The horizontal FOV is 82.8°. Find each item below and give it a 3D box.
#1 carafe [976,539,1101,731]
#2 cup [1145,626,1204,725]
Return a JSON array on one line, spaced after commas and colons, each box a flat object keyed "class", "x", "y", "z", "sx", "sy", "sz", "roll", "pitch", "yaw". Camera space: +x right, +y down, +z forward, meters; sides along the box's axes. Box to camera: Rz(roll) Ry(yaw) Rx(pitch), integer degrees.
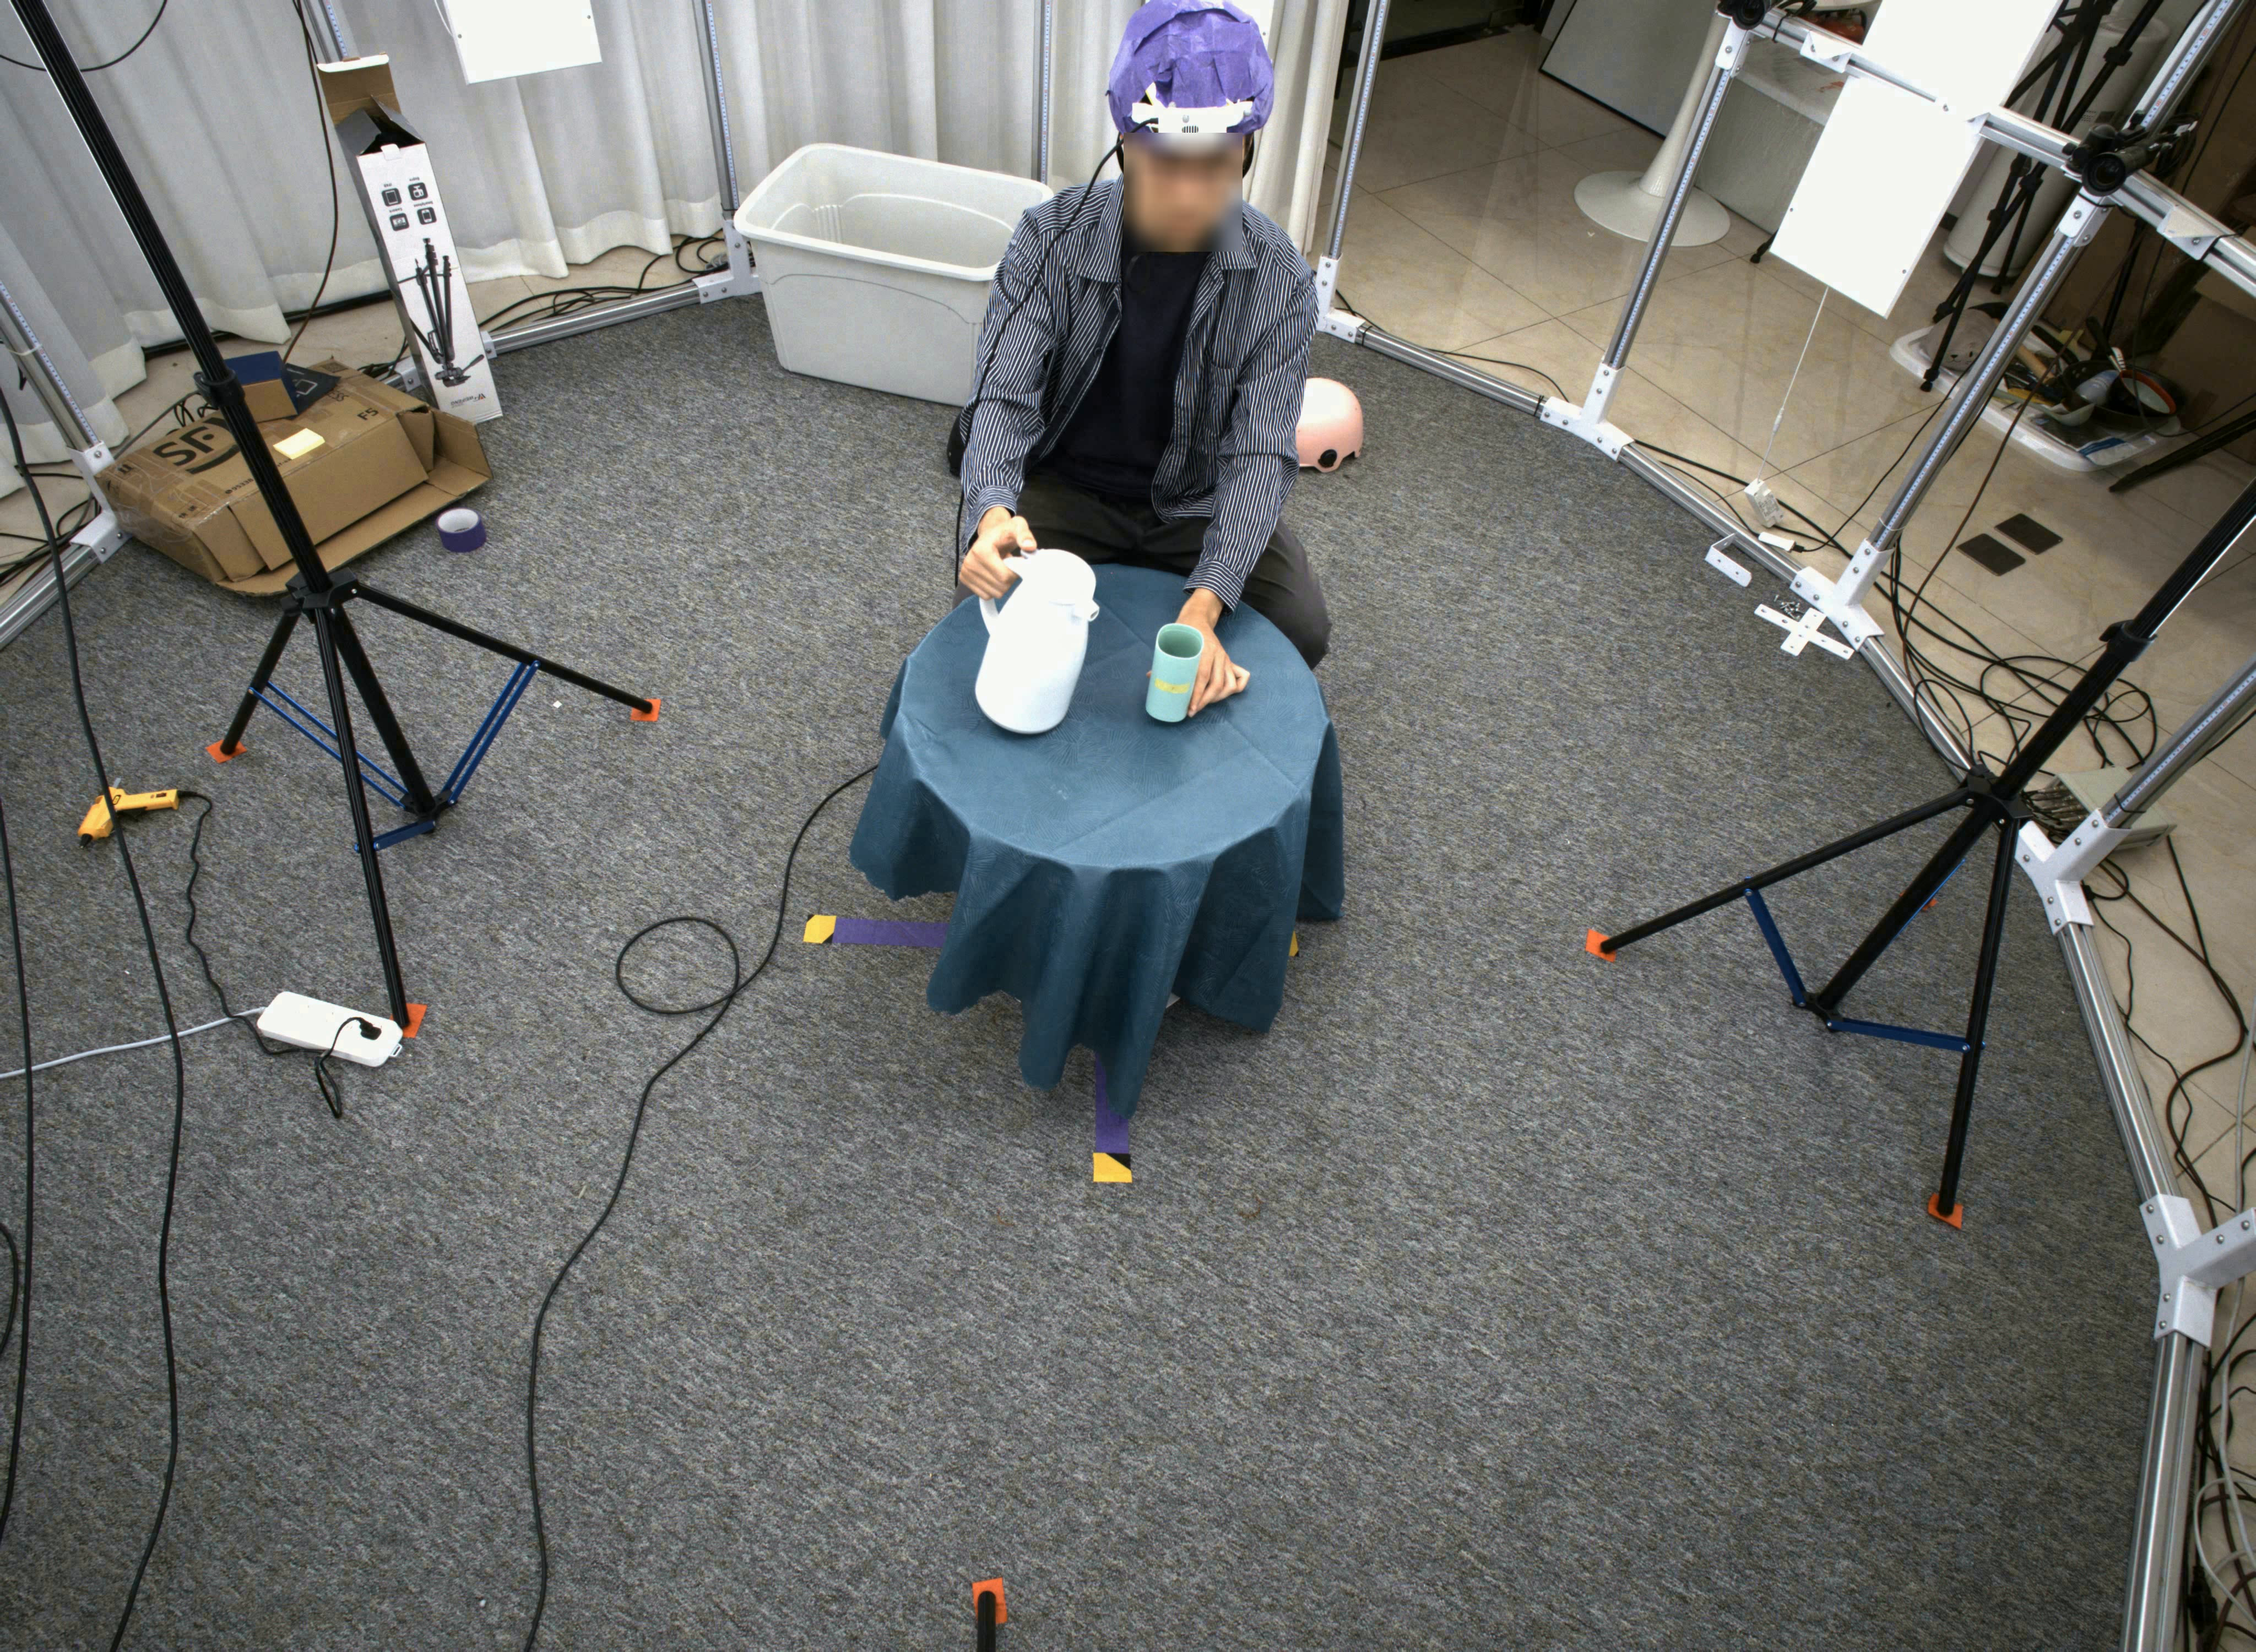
[{"class": "carafe", "x": -0.129, "y": -0.262, "z": 1.684, "sx": 0.169, "sy": 0.243, "sz": 0.134, "roll": 35, "pitch": 52, "yaw": 10}, {"class": "cup", "x": 0.062, "y": -0.205, "z": 1.744, "sx": 0.066, "sy": 0.129, "sz": 0.068, "roll": 4, "pitch": 52, "yaw": -5}]
